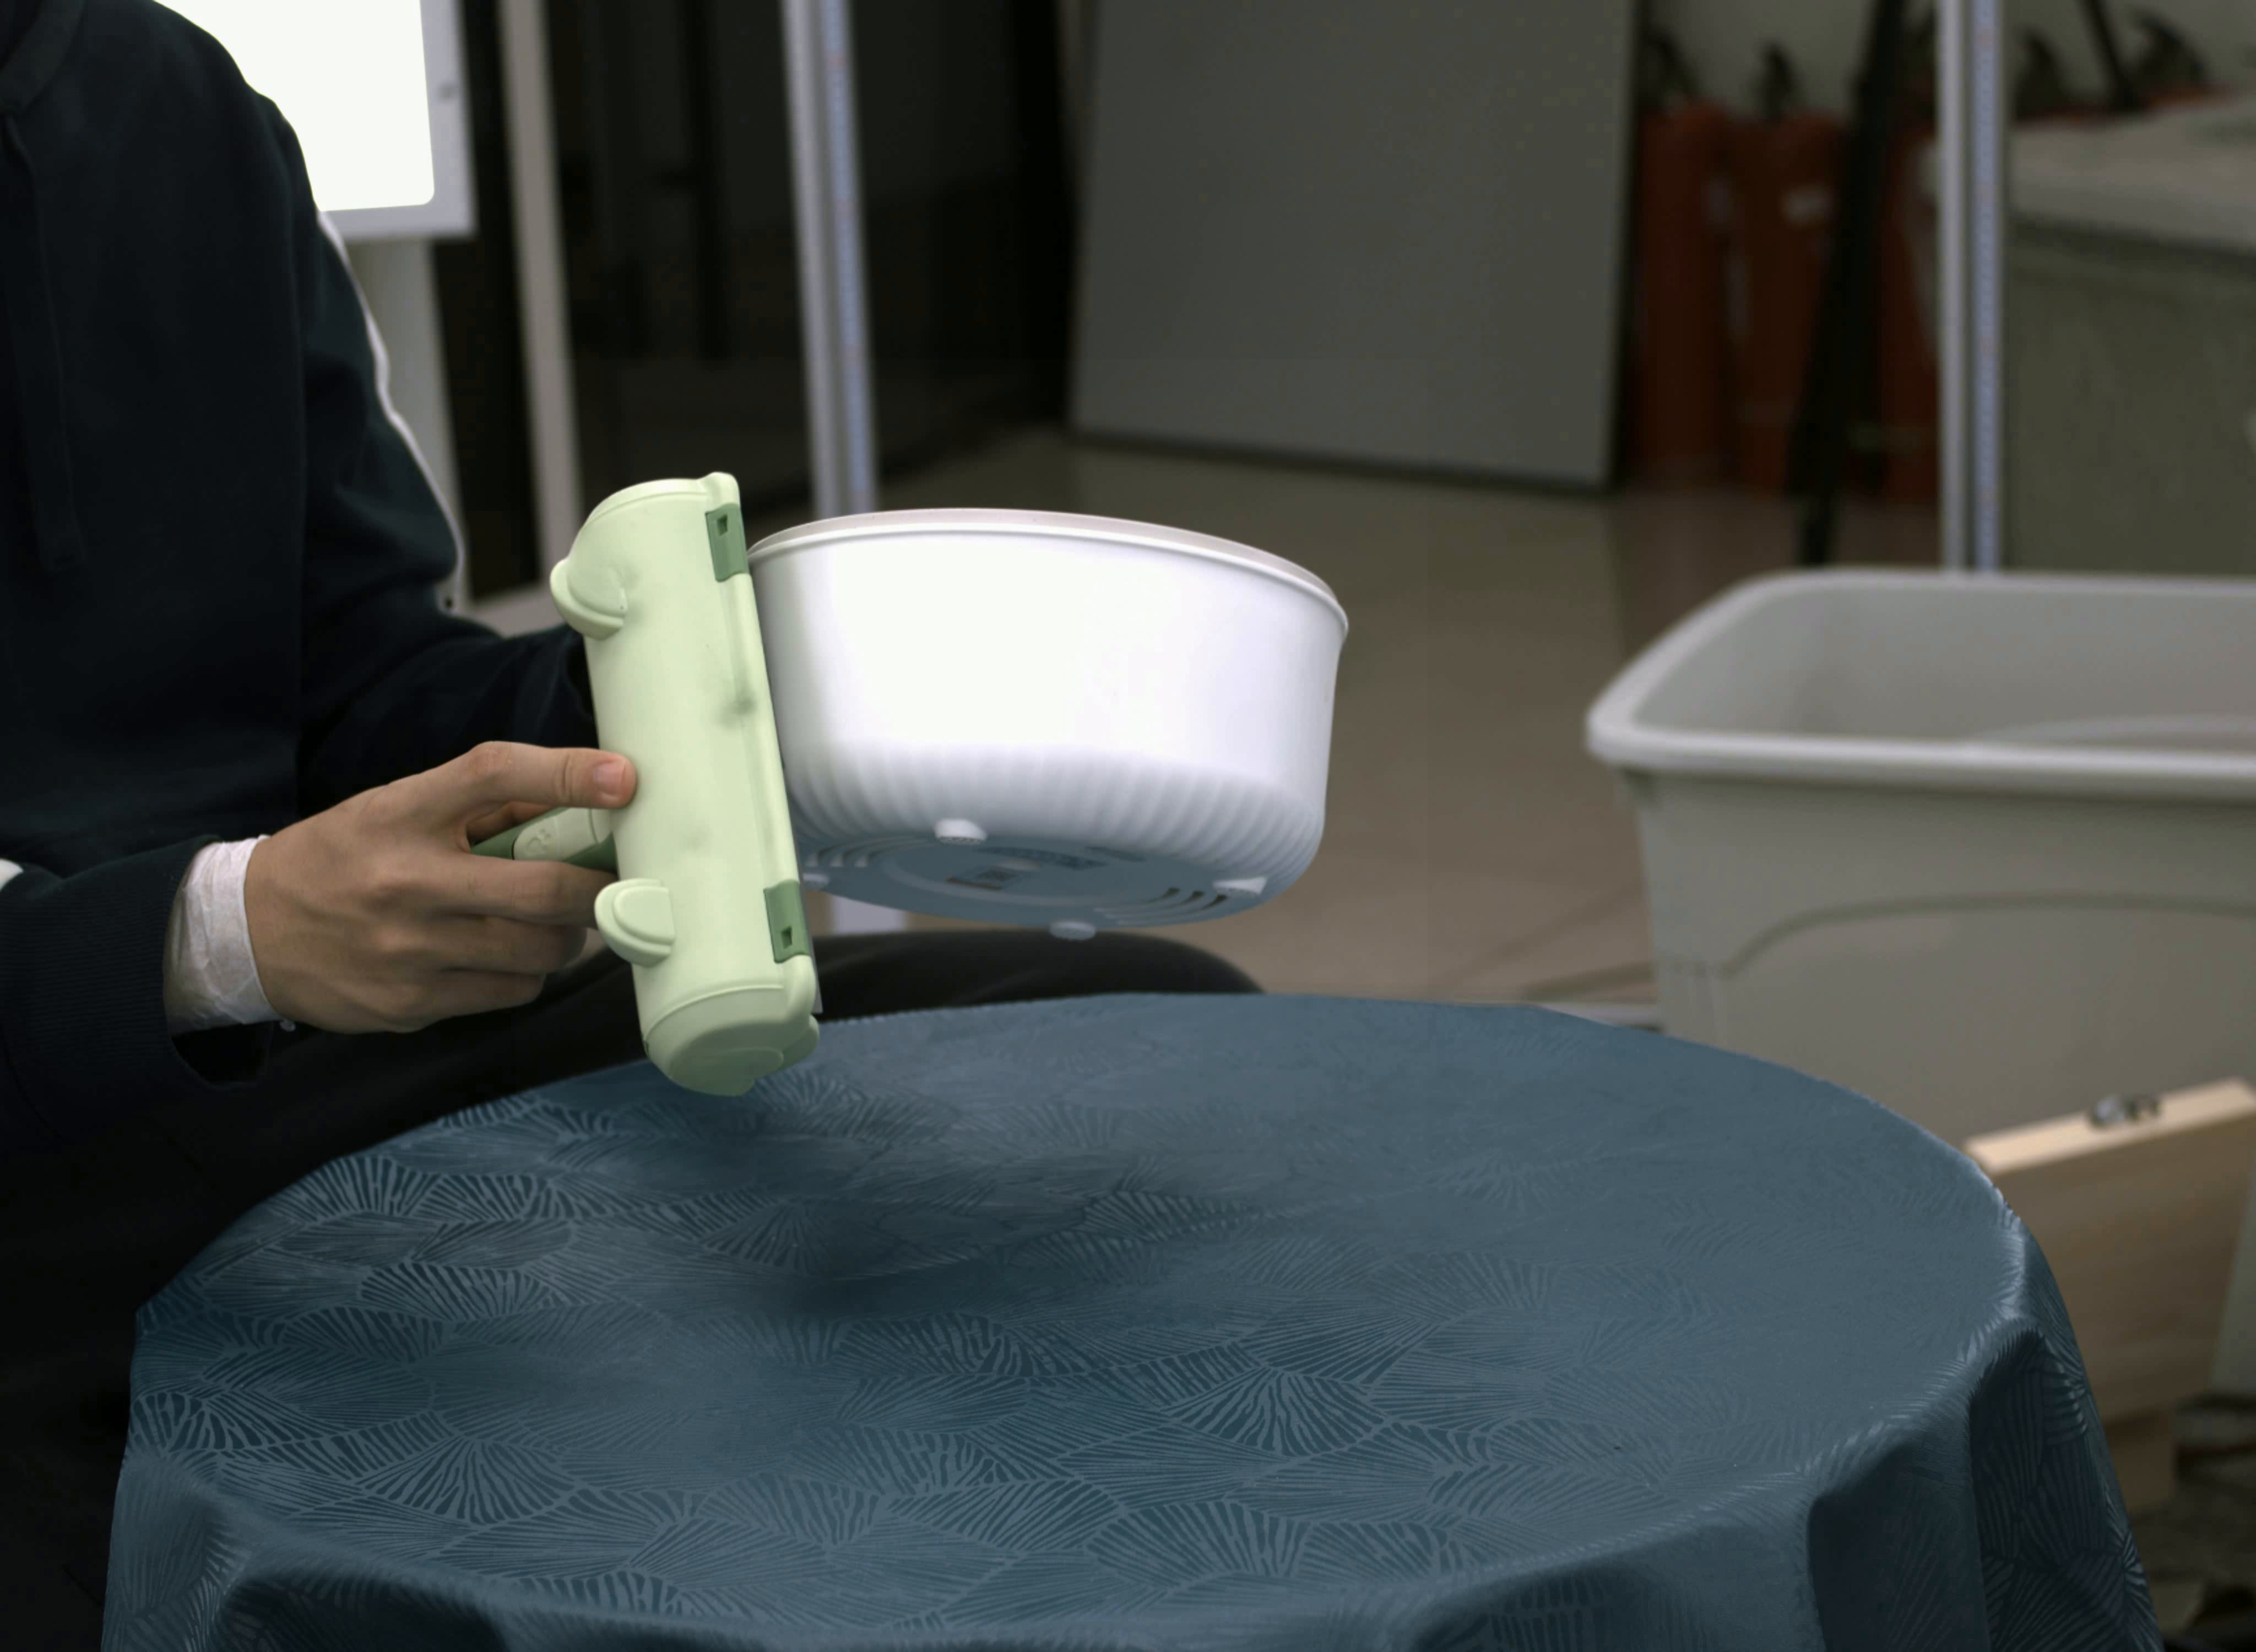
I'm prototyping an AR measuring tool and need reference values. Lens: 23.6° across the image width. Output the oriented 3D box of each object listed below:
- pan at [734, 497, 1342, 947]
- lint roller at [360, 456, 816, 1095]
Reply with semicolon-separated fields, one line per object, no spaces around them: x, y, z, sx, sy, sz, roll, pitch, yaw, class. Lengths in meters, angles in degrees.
-0.071;-0.015;1.799;0.197;0.103;0.358;11;-15;-28;pan
-0.183;0.002;1.676;0.184;0.201;0.081;-25;-31;24;lint roller
